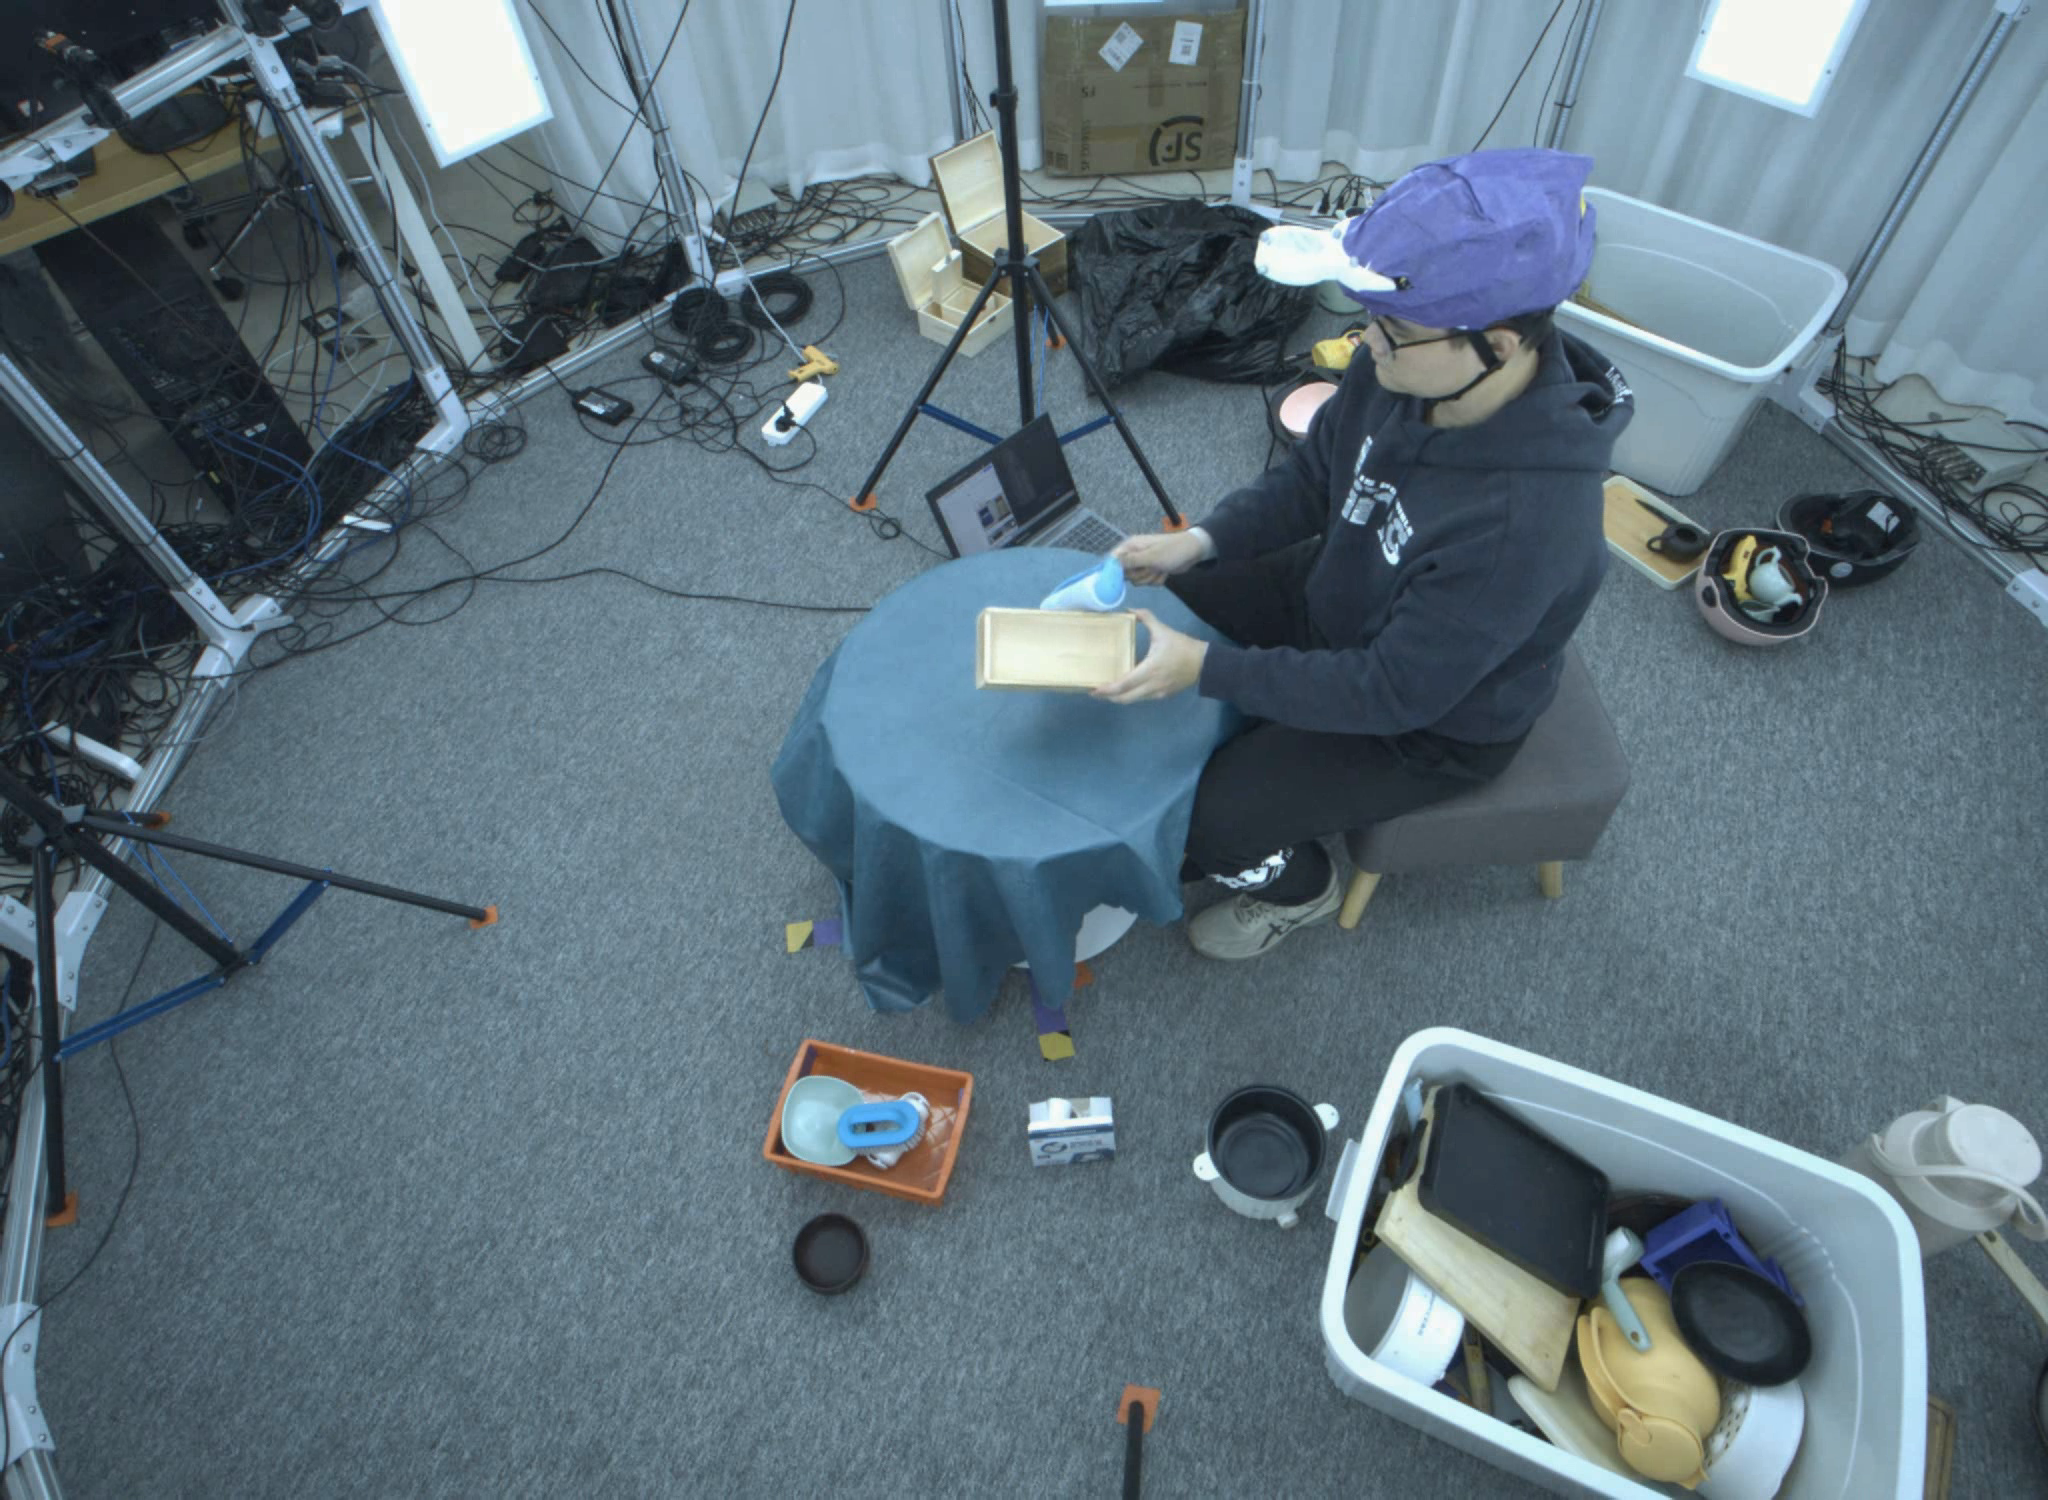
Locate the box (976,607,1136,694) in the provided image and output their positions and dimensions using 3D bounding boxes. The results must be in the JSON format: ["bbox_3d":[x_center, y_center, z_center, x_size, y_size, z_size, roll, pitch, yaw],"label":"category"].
[{"bbox_3d":[0.043,-0.137,1.714,0.213,0.079,0.107,1,88,-13],"label":"box"}]

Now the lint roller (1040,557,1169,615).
[{"bbox_3d":[0.125,-0.244,1.776,0.182,0.226,0.068,-35,97,-22],"label":"lint roller"}]
